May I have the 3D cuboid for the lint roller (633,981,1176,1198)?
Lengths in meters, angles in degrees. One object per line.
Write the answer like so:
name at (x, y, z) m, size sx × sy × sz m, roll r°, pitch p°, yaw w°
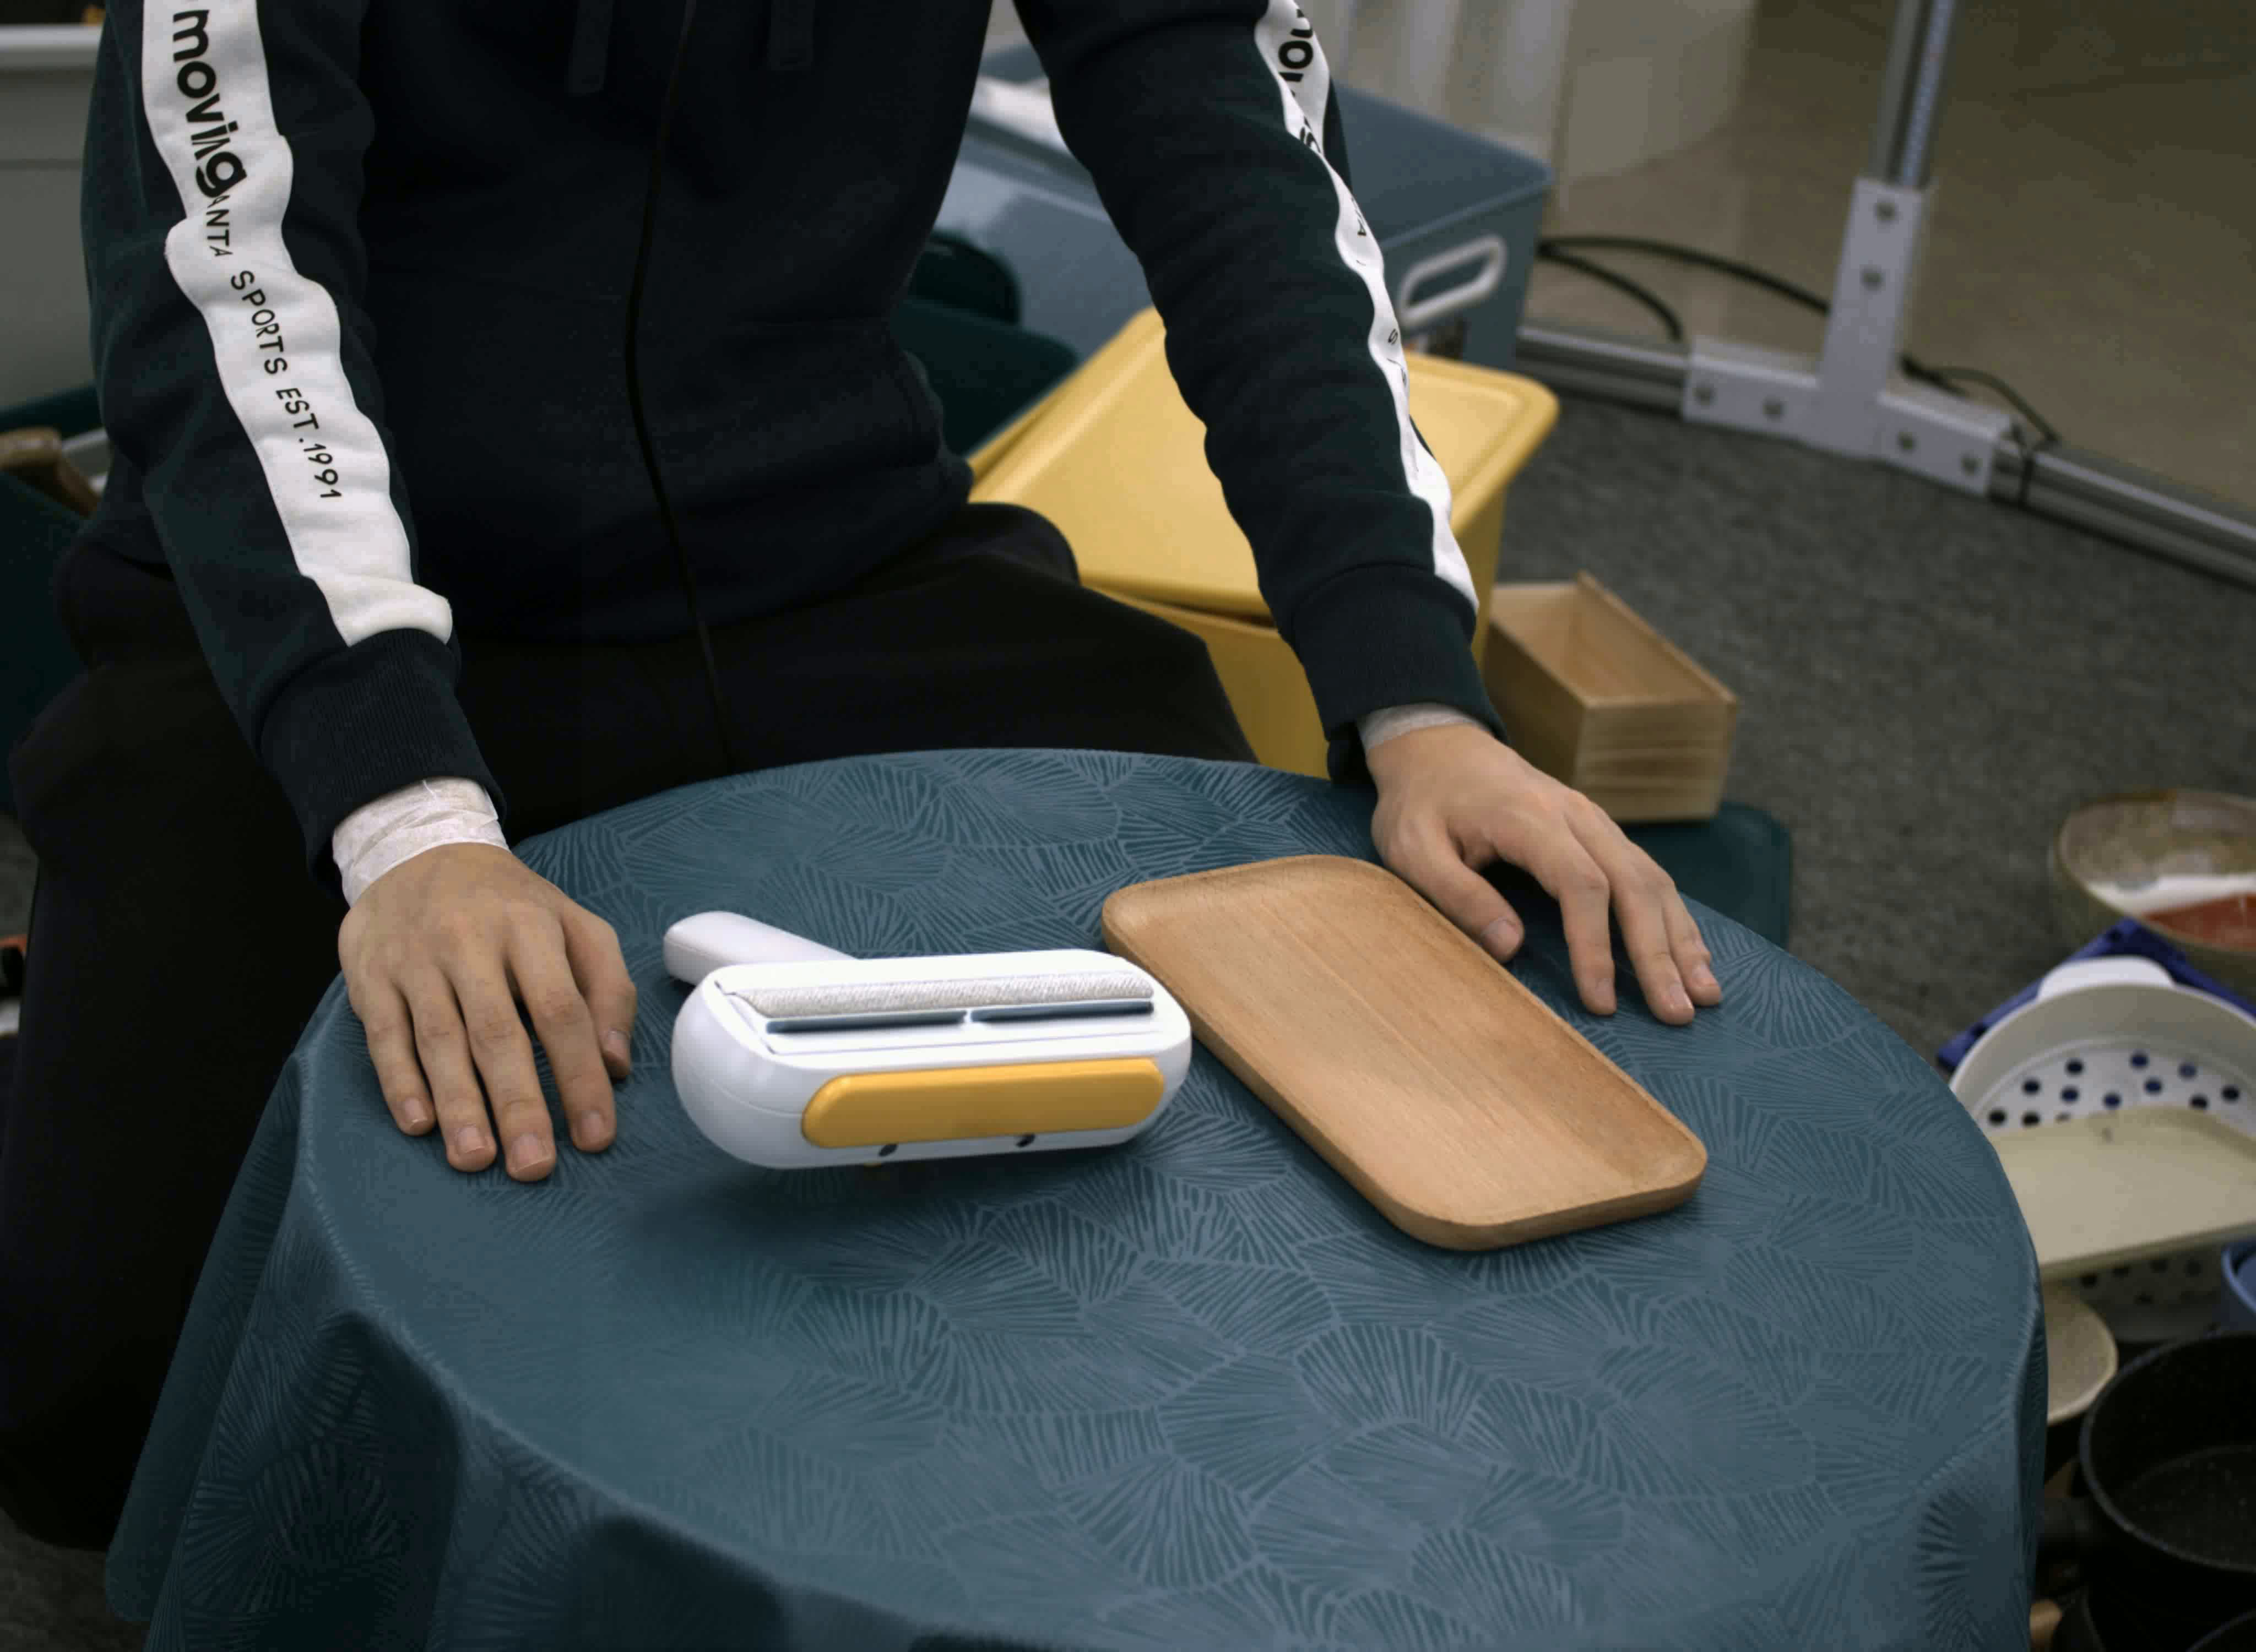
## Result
lint roller at (-0.103, 0.079, 1.831) m, size 0.191 × 0.074 × 0.194 m, roll -2°, pitch 12°, yaw -31°

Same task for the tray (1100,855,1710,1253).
tray at (0.095, 0.078, 1.892) m, size 0.129 × 0.023 × 0.253 m, roll -7°, pitch 29°, yaw -28°
